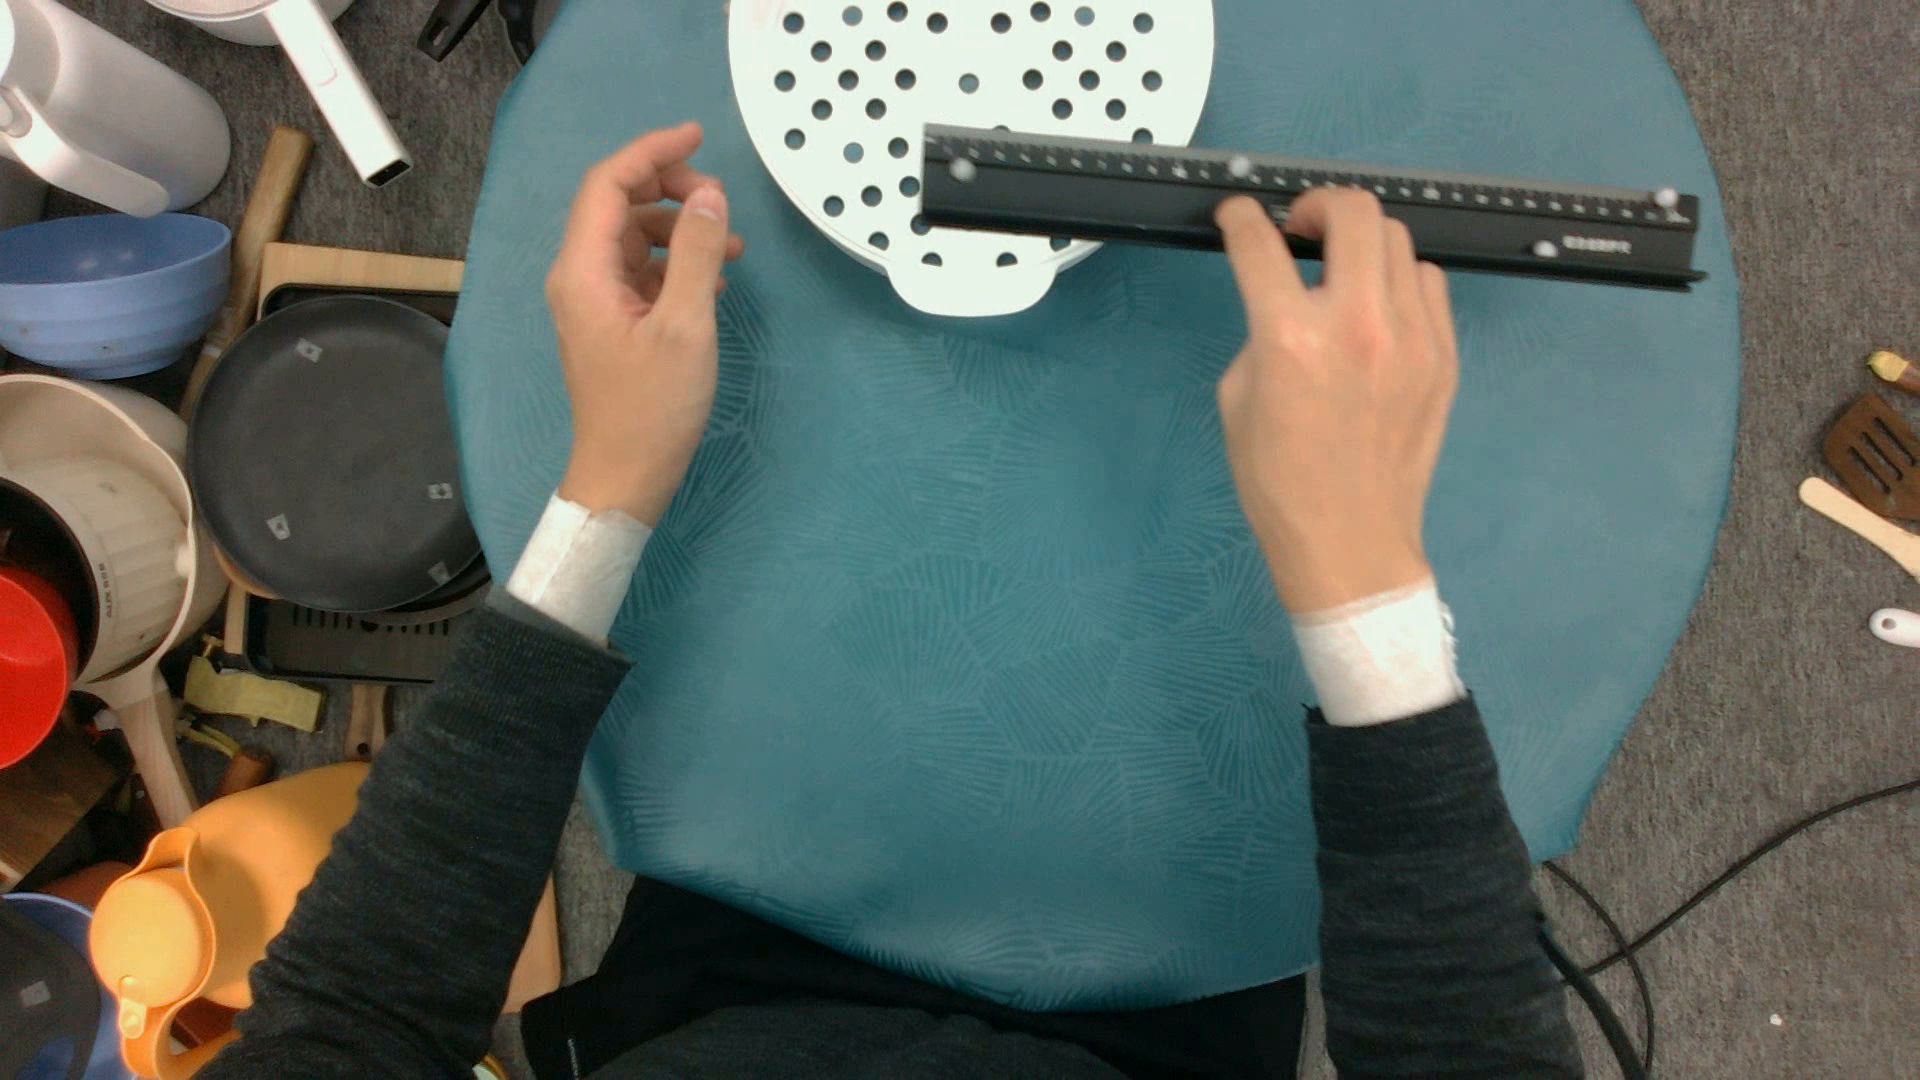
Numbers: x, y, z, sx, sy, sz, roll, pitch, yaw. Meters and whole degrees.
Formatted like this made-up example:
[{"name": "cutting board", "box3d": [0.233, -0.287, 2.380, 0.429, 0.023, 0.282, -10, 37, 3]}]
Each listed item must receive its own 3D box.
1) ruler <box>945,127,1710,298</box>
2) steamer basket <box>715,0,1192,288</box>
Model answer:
[{"name": "ruler", "box3d": [0.151, -0.129, 0.546, 0.313, 0.017, 0.039, 4, 95, -6]}, {"name": "steamer basket", "box3d": [-0.003, -0.220, 0.608, 0.202, 0.069, 0.230, -1, 88, -2]}]
